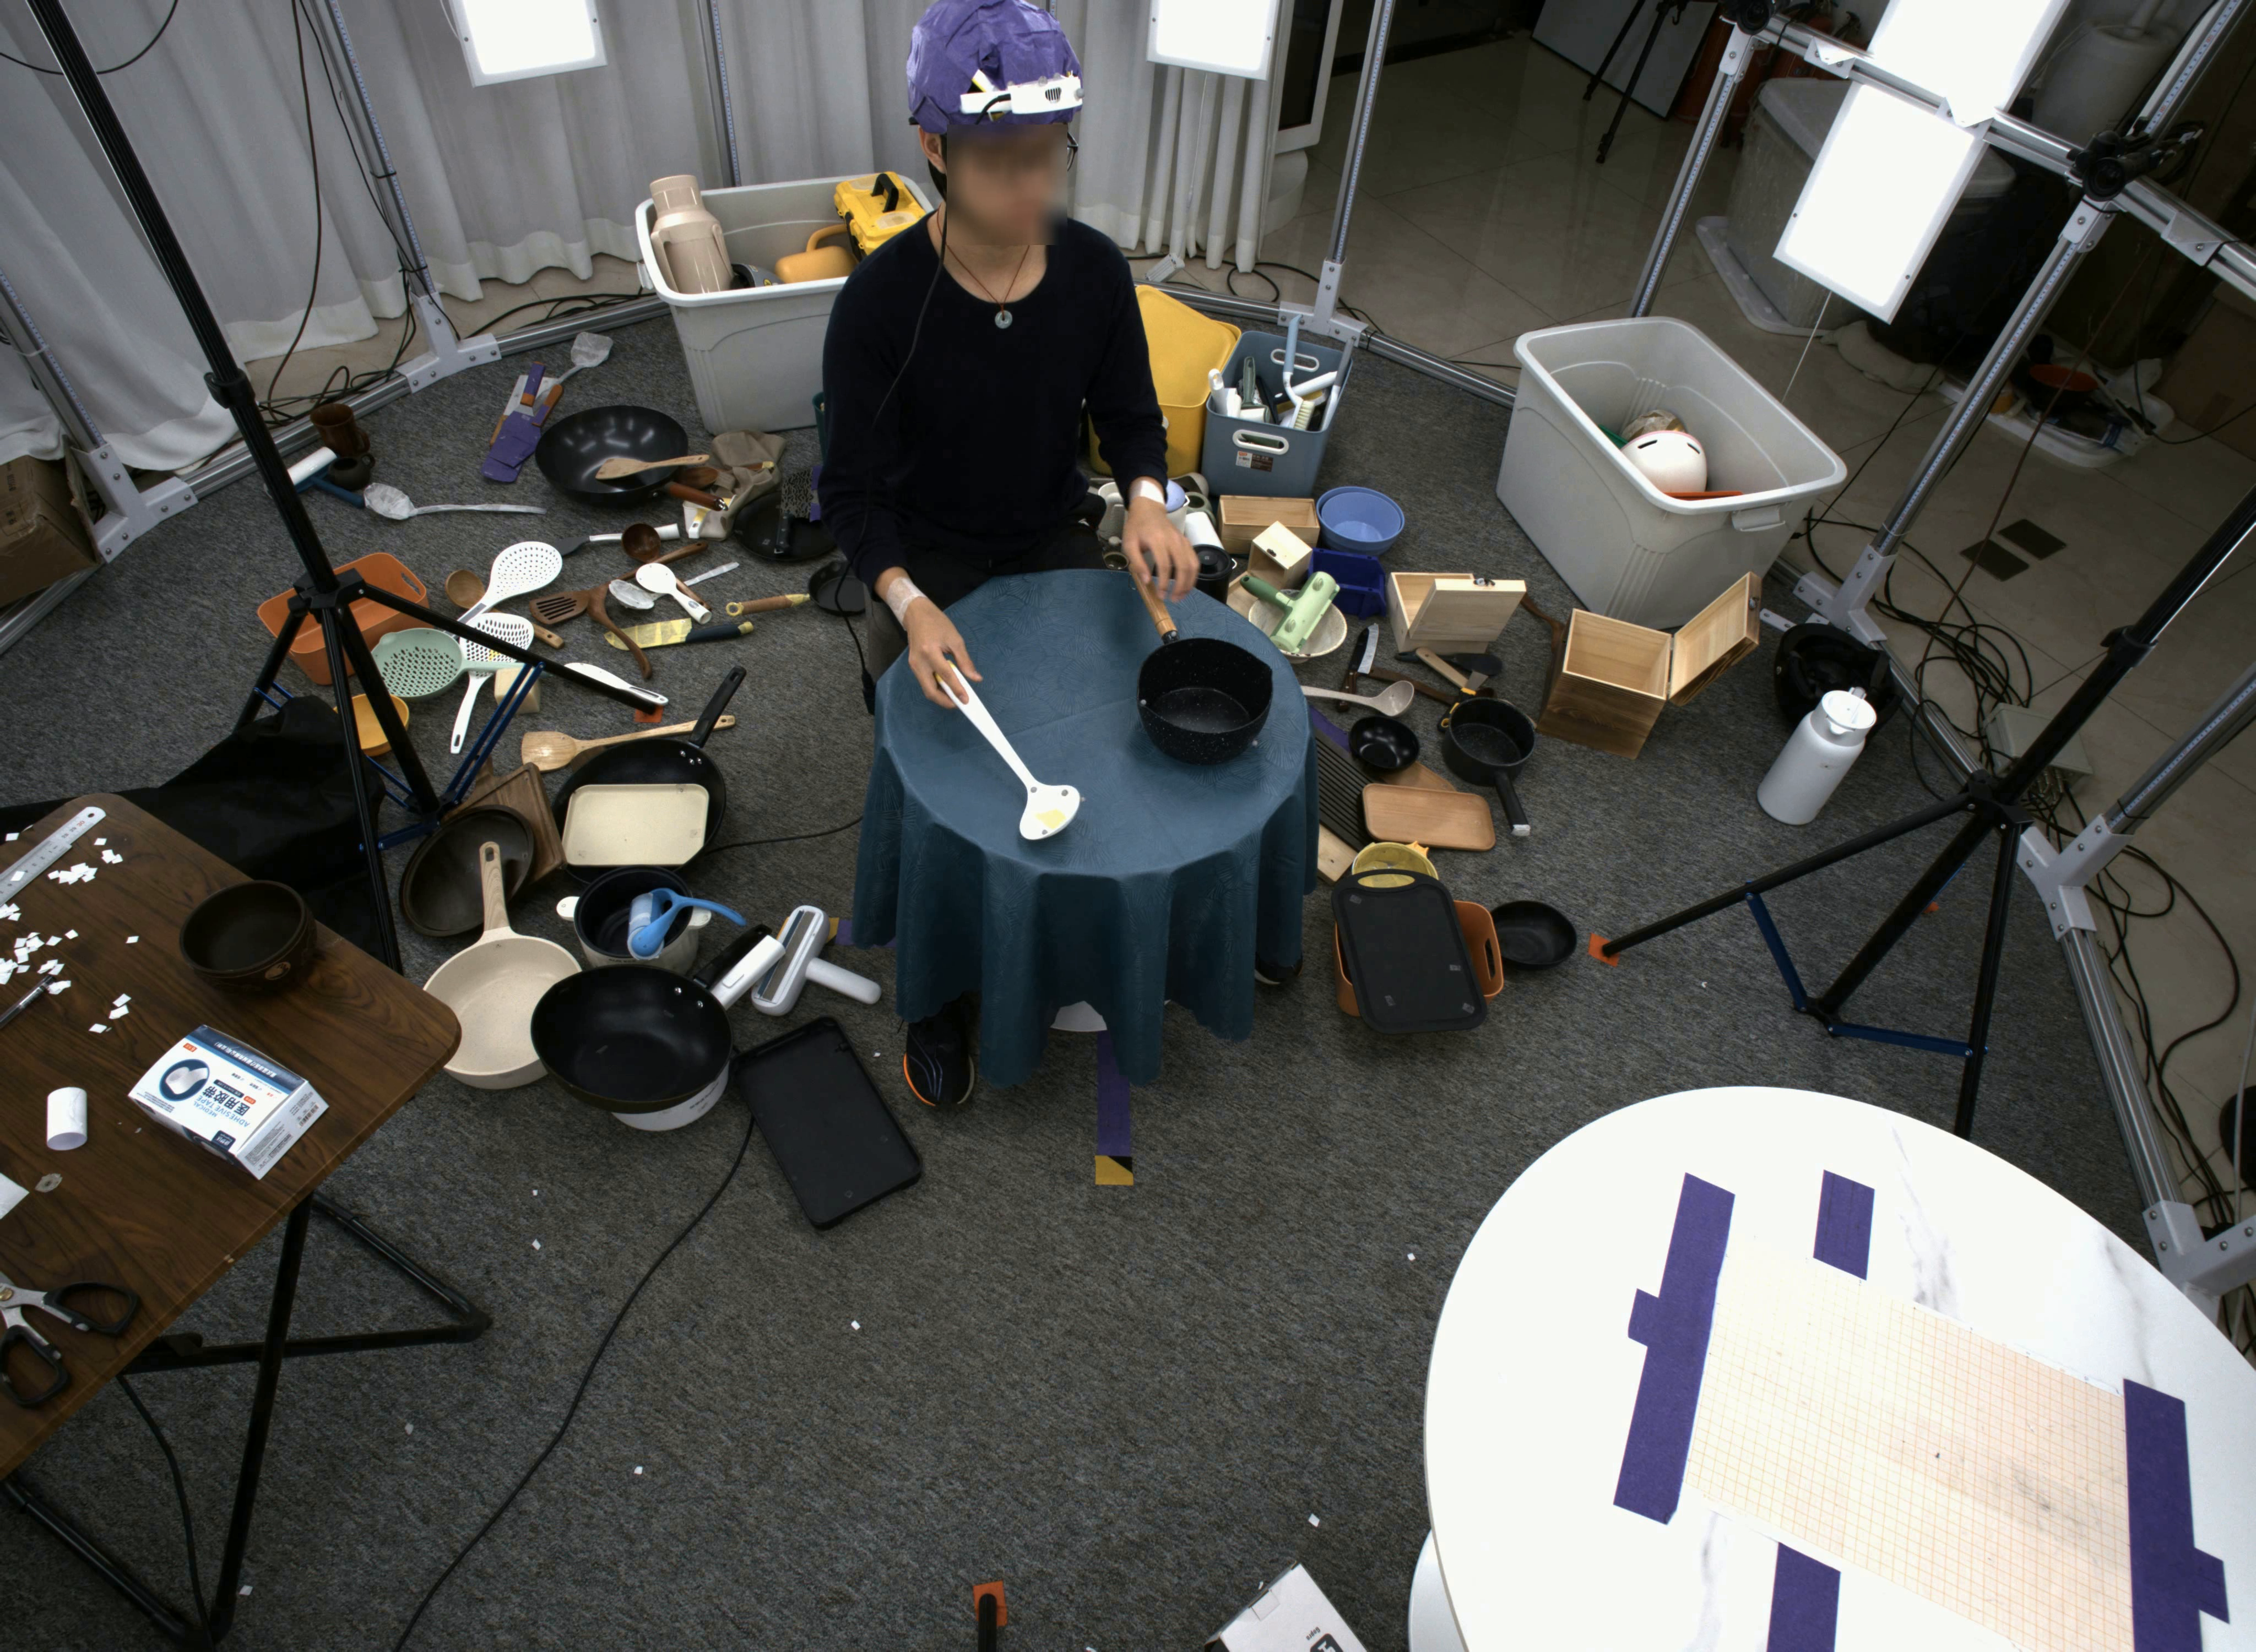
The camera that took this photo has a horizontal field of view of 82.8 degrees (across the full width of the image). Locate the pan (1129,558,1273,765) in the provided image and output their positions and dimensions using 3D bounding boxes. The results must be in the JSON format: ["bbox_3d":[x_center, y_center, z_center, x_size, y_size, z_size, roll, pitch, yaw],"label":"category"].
[{"bbox_3d":[0.071,-0.232,1.805,0.207,0.105,0.350,-17,54,-16],"label":"pan"}]

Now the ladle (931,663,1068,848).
[{"bbox_3d":[-0.175,-0.098,1.672,0.089,0.069,0.297,-40,72,13],"label":"ladle"}]
